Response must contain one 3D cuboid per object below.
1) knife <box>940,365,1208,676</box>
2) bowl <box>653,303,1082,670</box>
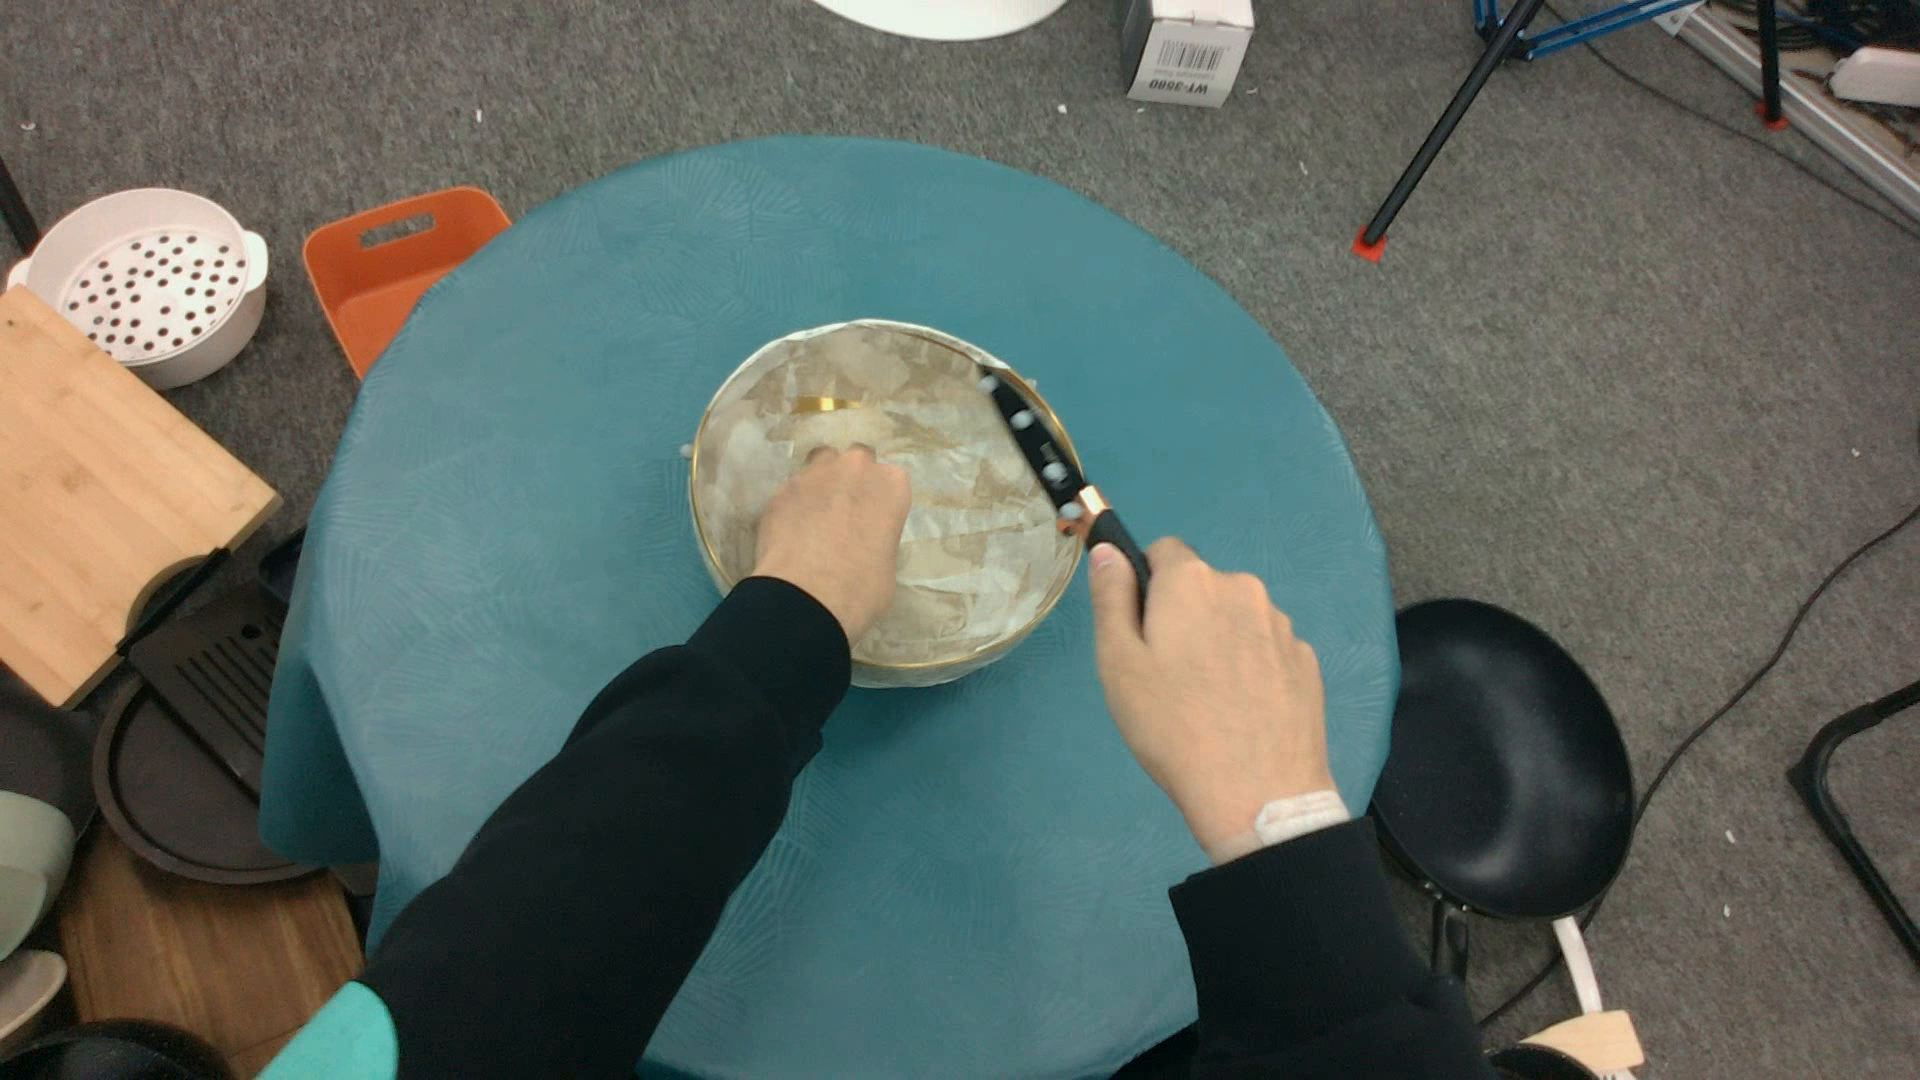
[{"bbox_3d":[0.042,-0.020,0.602,0.017,0.026,0.226,10,33,-38],"label":"knife"},{"bbox_3d":[-0.049,-0.013,0.712,0.215,0.094,0.215,7,59,-11],"label":"bowl"}]
